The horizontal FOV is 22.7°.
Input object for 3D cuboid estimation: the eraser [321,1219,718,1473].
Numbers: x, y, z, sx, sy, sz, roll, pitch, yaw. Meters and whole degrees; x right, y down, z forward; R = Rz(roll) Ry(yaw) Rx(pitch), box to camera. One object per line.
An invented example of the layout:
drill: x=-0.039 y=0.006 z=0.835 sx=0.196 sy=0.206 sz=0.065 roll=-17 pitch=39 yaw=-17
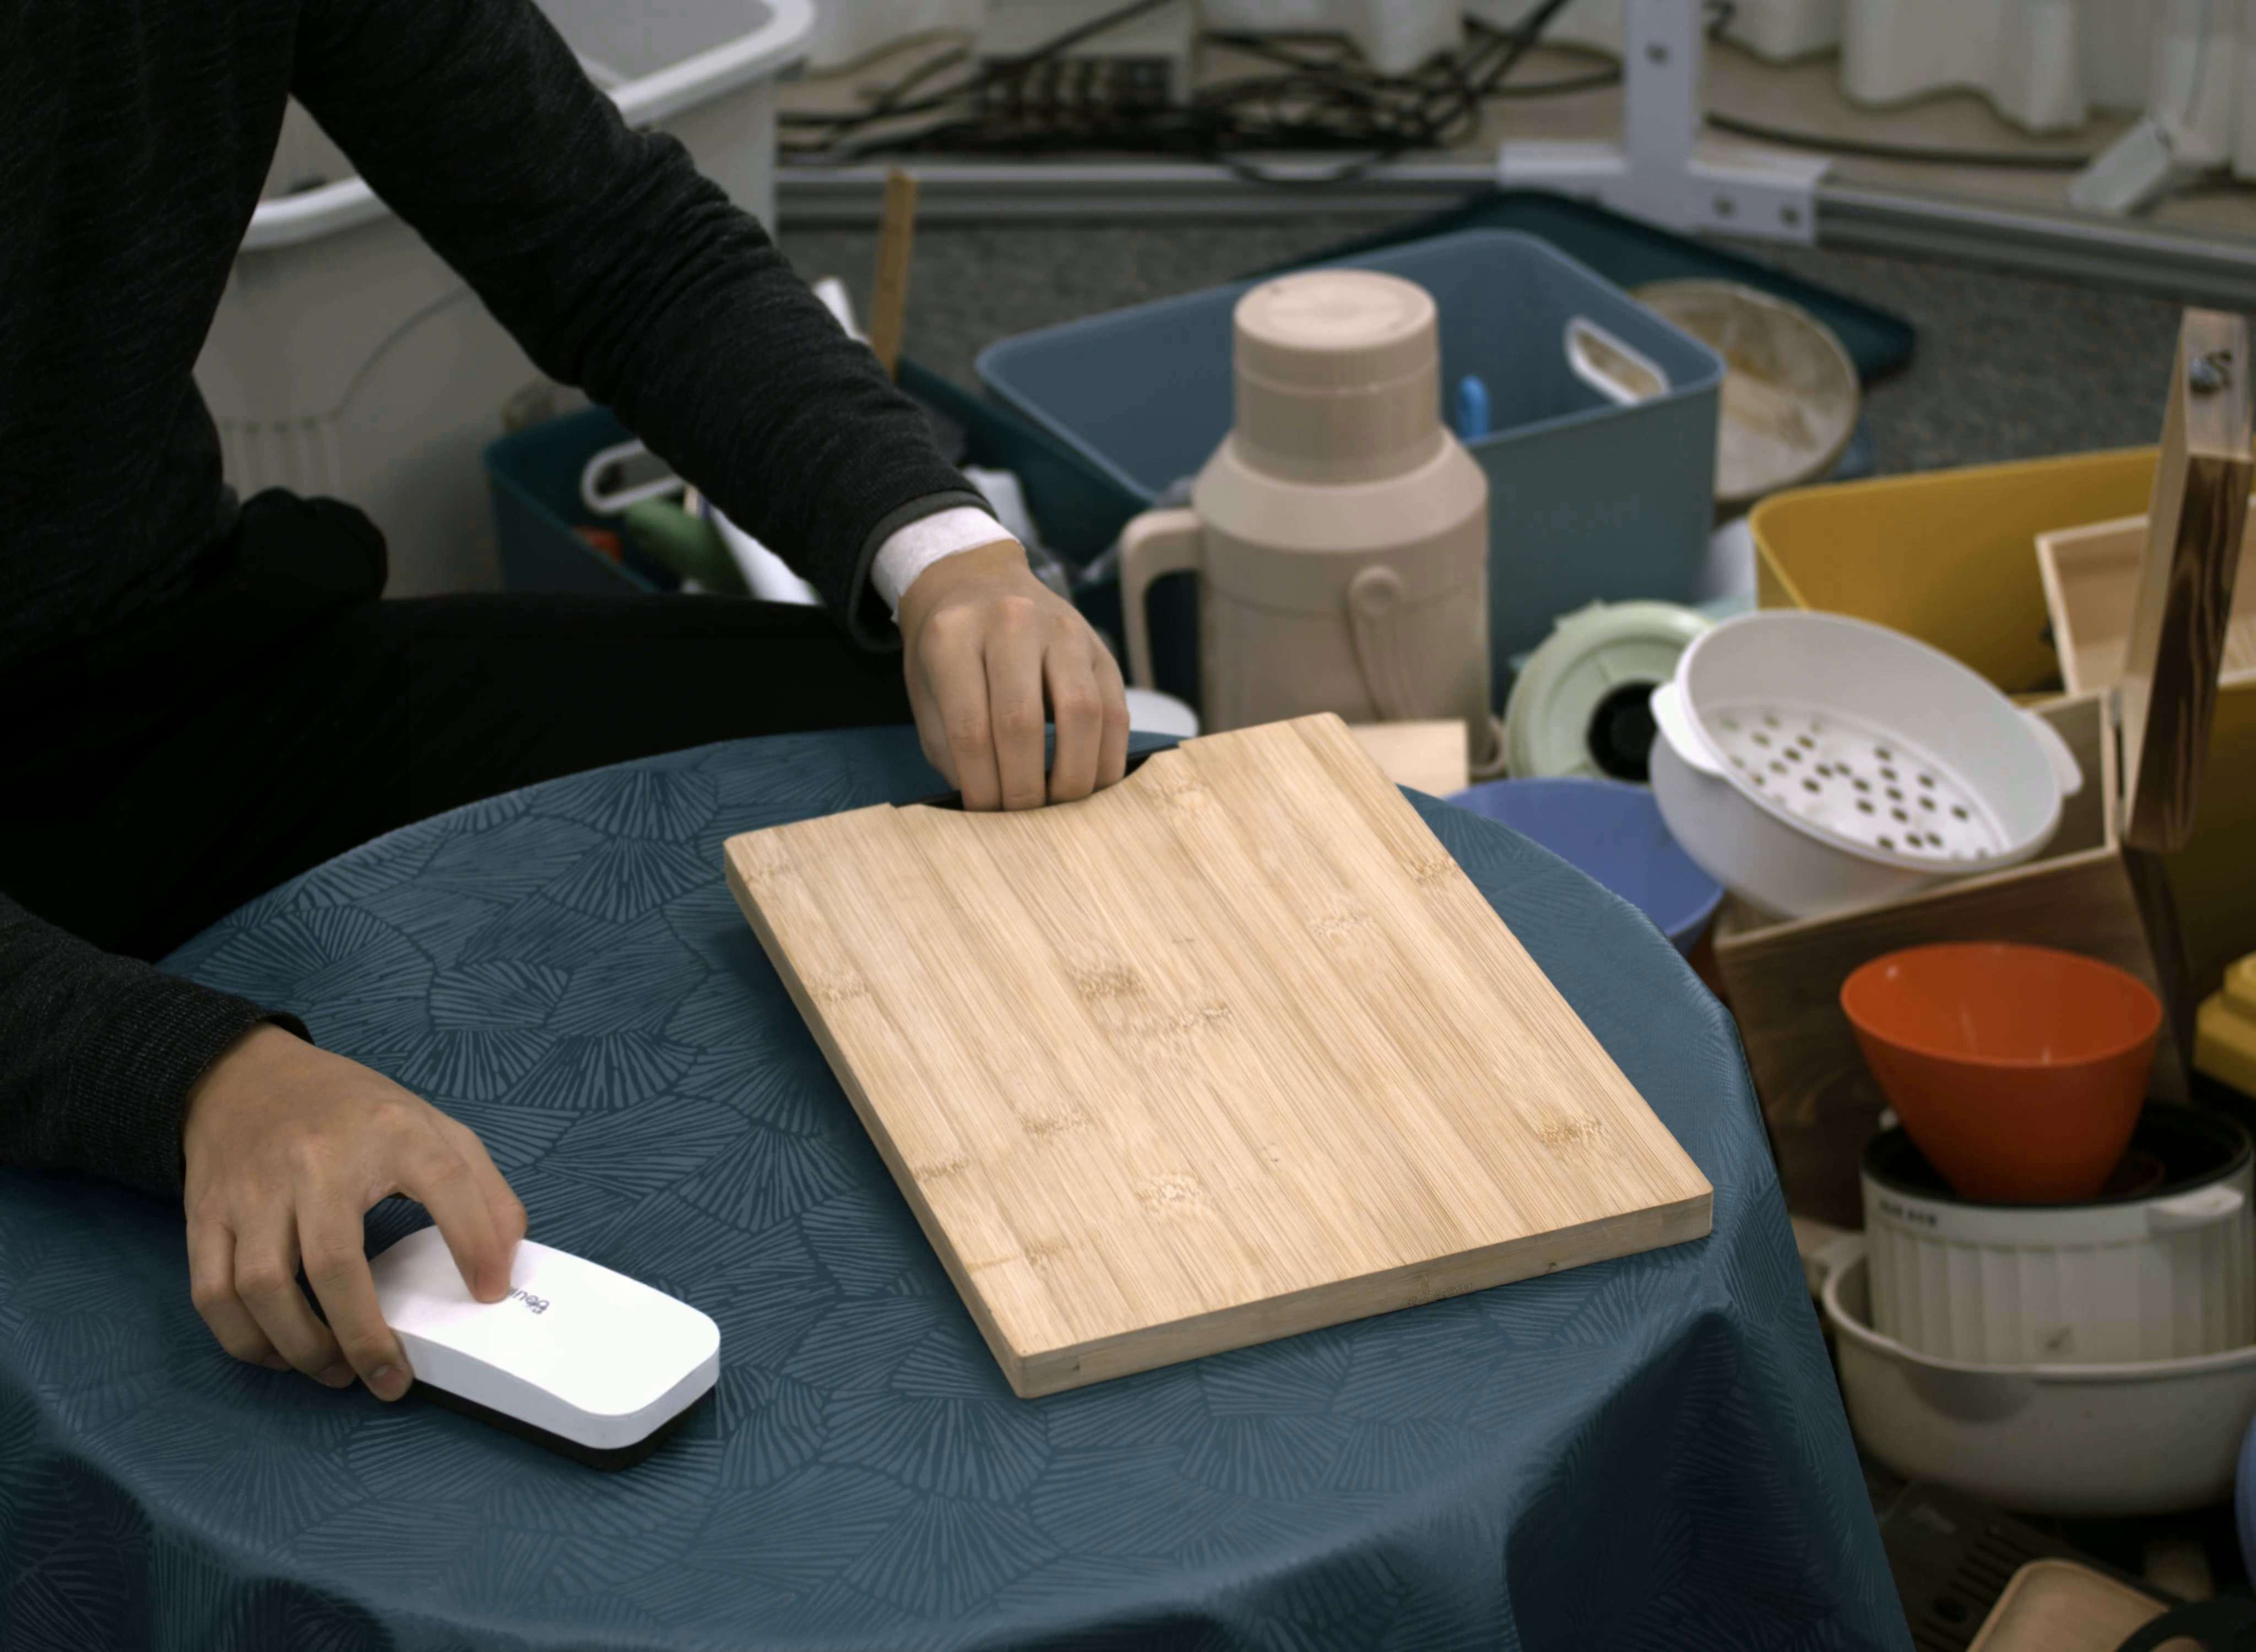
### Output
eraser: x=-0.191 y=0.161 z=1.770 sx=0.131 sy=0.034 sz=0.064 roll=18 pitch=36 yaw=33

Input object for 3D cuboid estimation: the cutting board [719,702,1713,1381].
cutting board: x=0.020 y=0.066 z=1.928 sx=0.251 sy=0.023 sz=0.352 roll=-12 pitch=32 yaw=-17
